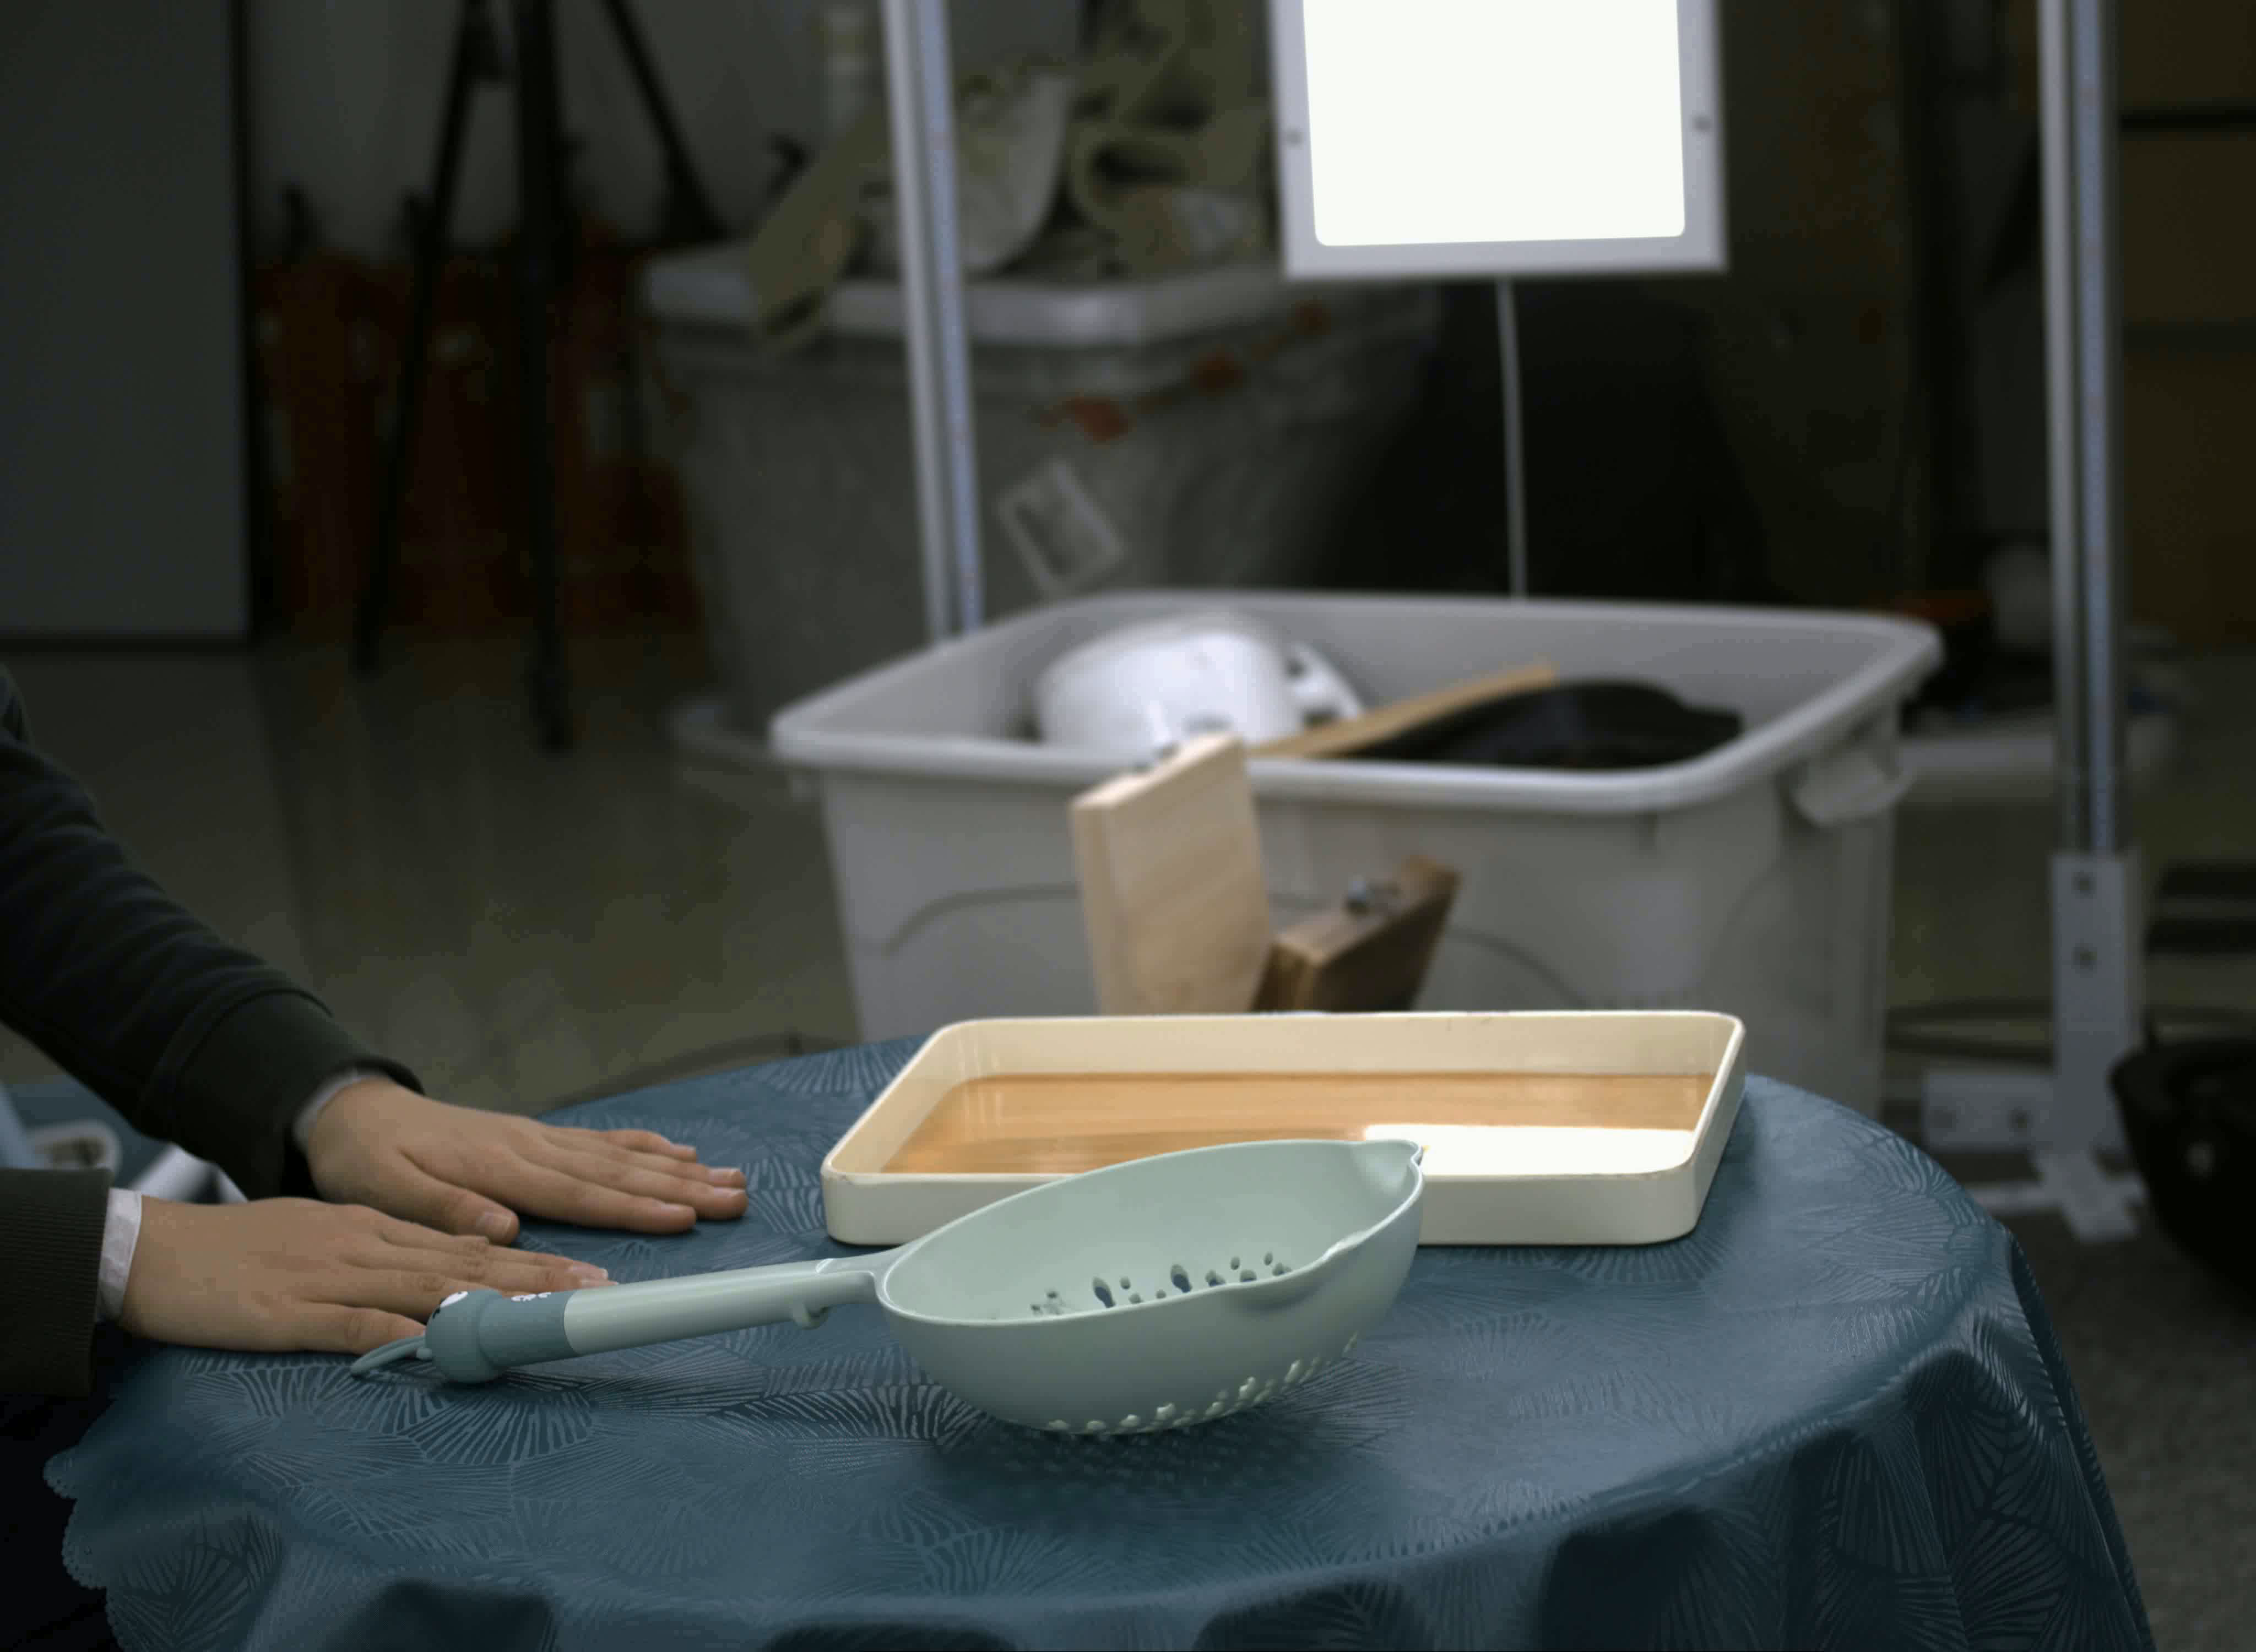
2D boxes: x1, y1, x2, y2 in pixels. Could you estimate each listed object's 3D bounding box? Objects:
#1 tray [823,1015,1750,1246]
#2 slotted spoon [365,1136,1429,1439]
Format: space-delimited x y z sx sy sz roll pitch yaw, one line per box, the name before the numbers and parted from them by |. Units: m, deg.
tray | 0.059 0.105 1.911 0.303 0.027 0.189 -1 14 15
slotted spoon | -0.080 0.146 1.710 0.364 0.075 0.166 1 14 21
